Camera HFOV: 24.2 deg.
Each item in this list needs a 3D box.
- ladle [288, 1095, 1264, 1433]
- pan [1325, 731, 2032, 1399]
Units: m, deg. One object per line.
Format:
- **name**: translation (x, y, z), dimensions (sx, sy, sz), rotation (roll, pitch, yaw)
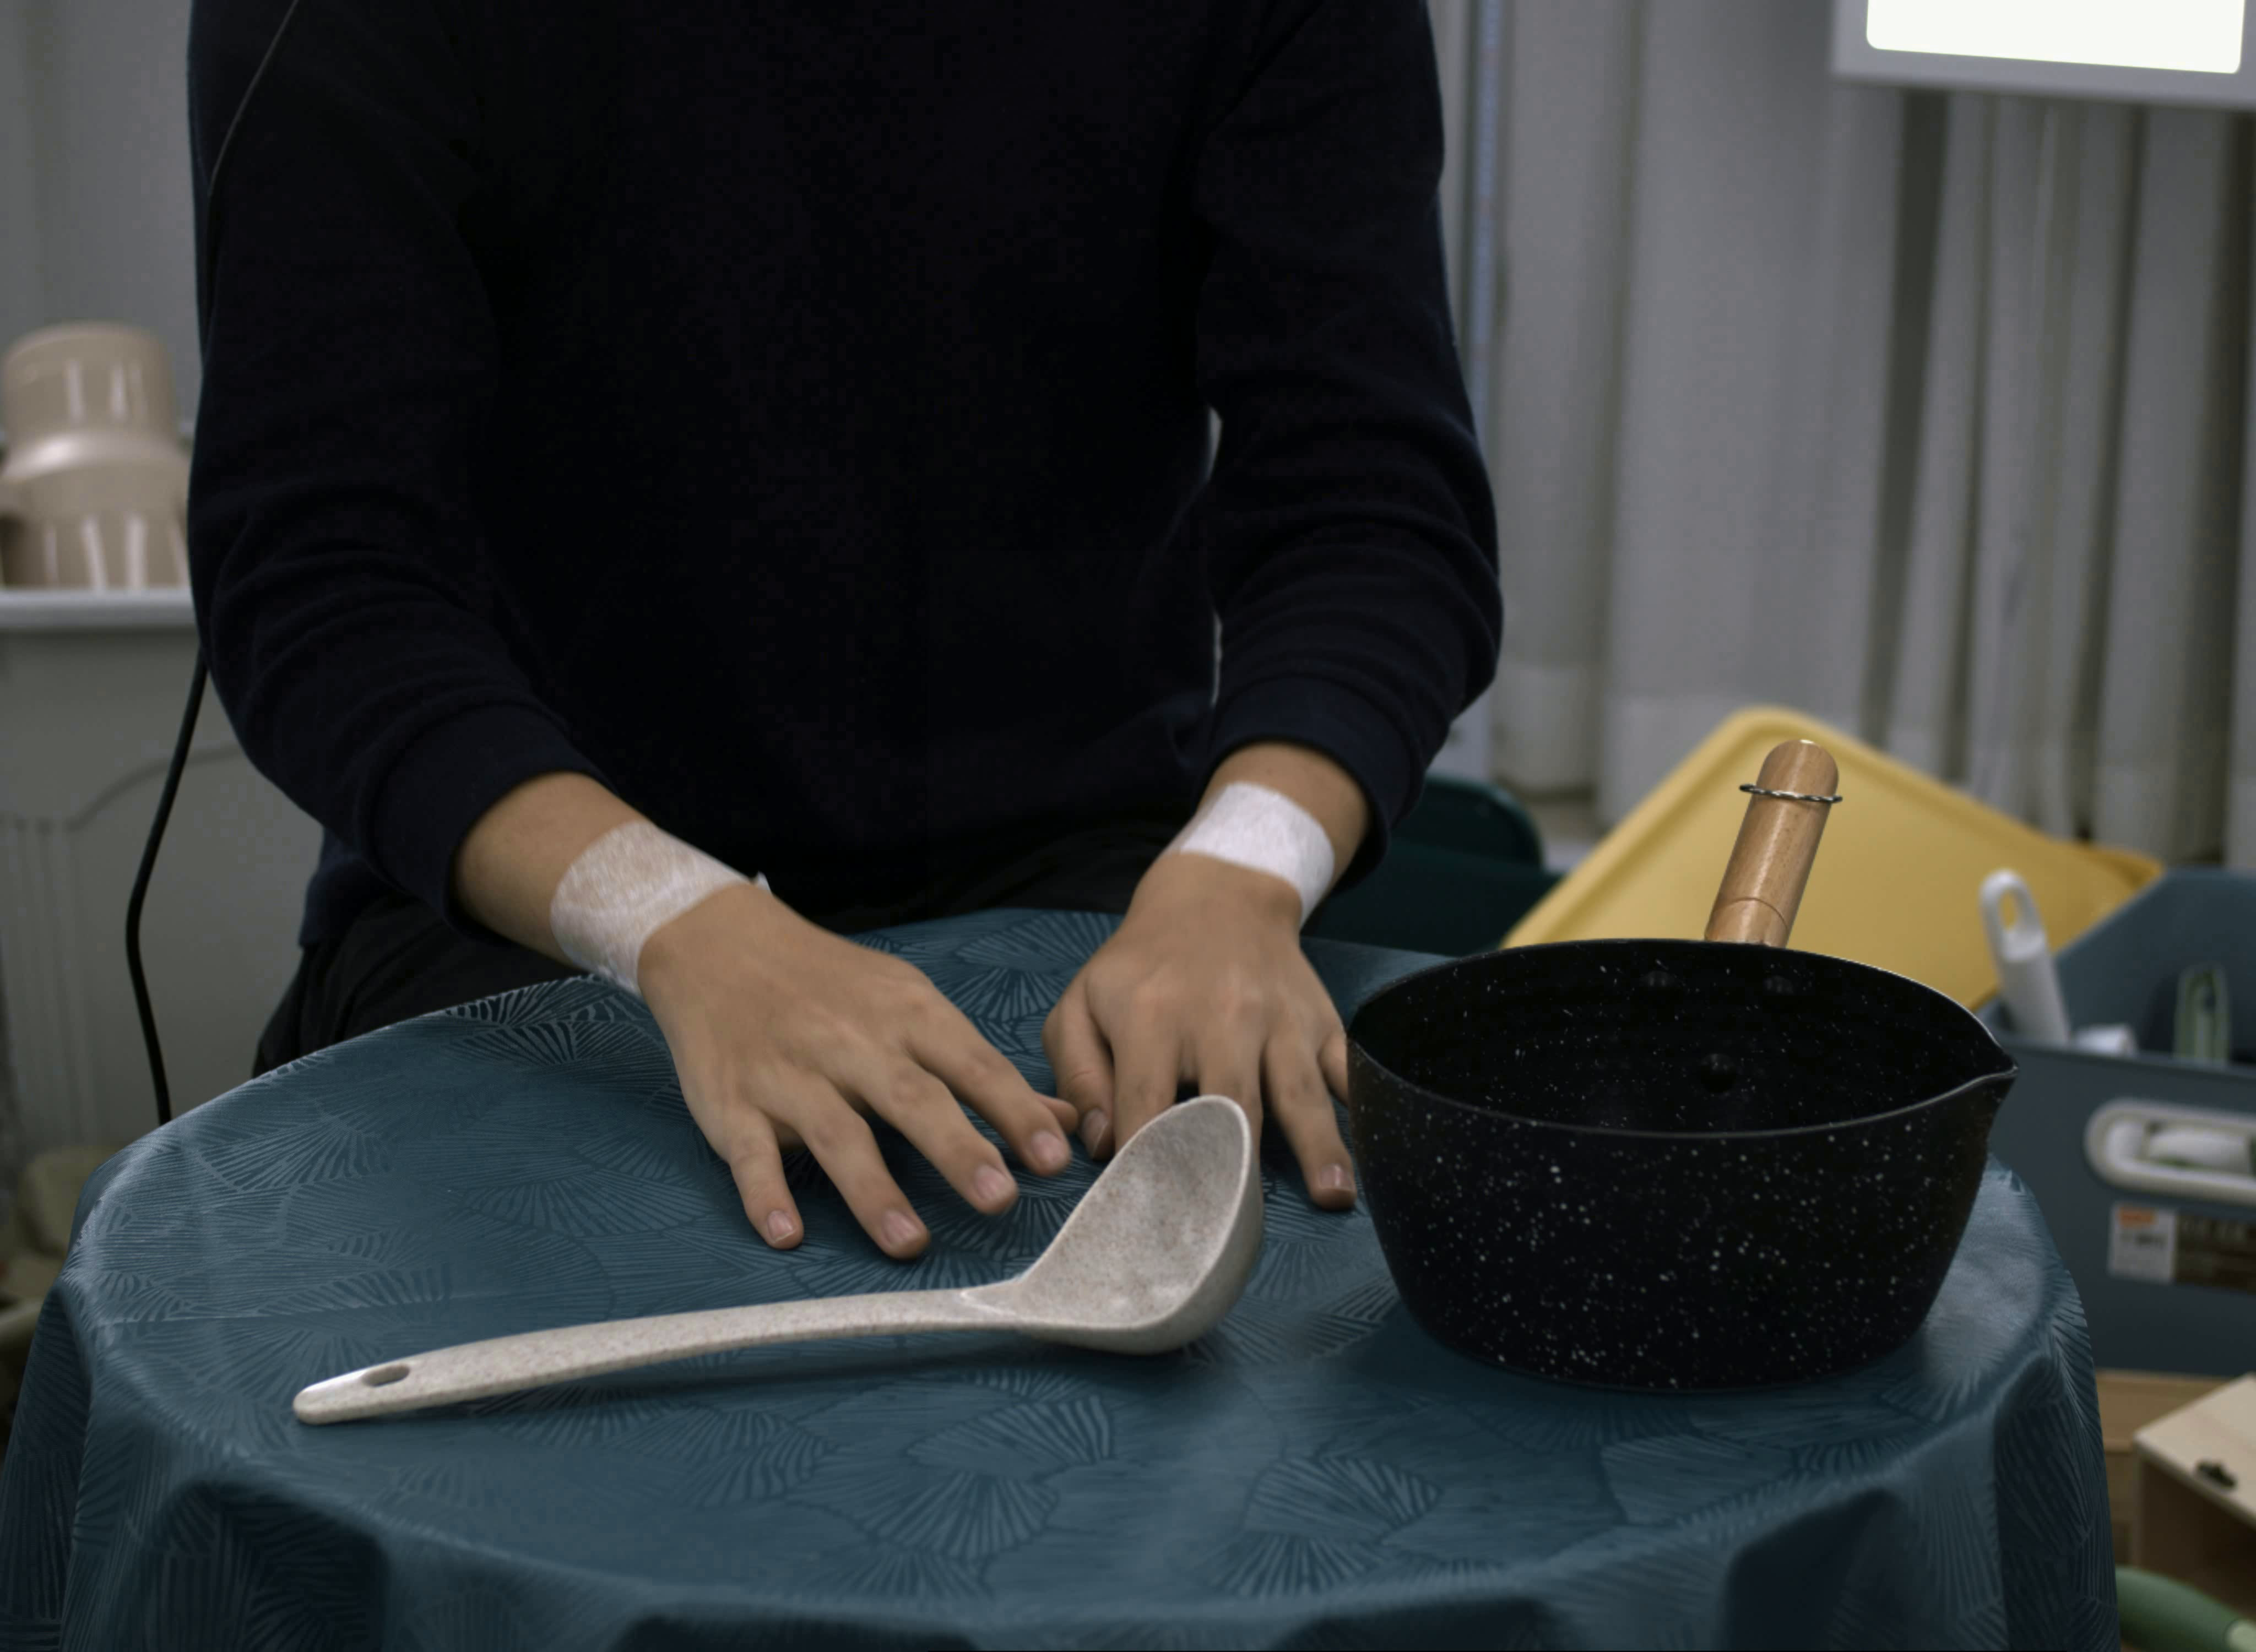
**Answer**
- **ladle**: translation (-0.096, 0.122, 1.460), dimensions (0.275, 0.070, 0.088), rotation (-4, 27, -16)
- **pan**: translation (0.175, 0.066, 1.590), dimensions (0.206, 0.109, 0.342), rotation (3, 17, 14)
